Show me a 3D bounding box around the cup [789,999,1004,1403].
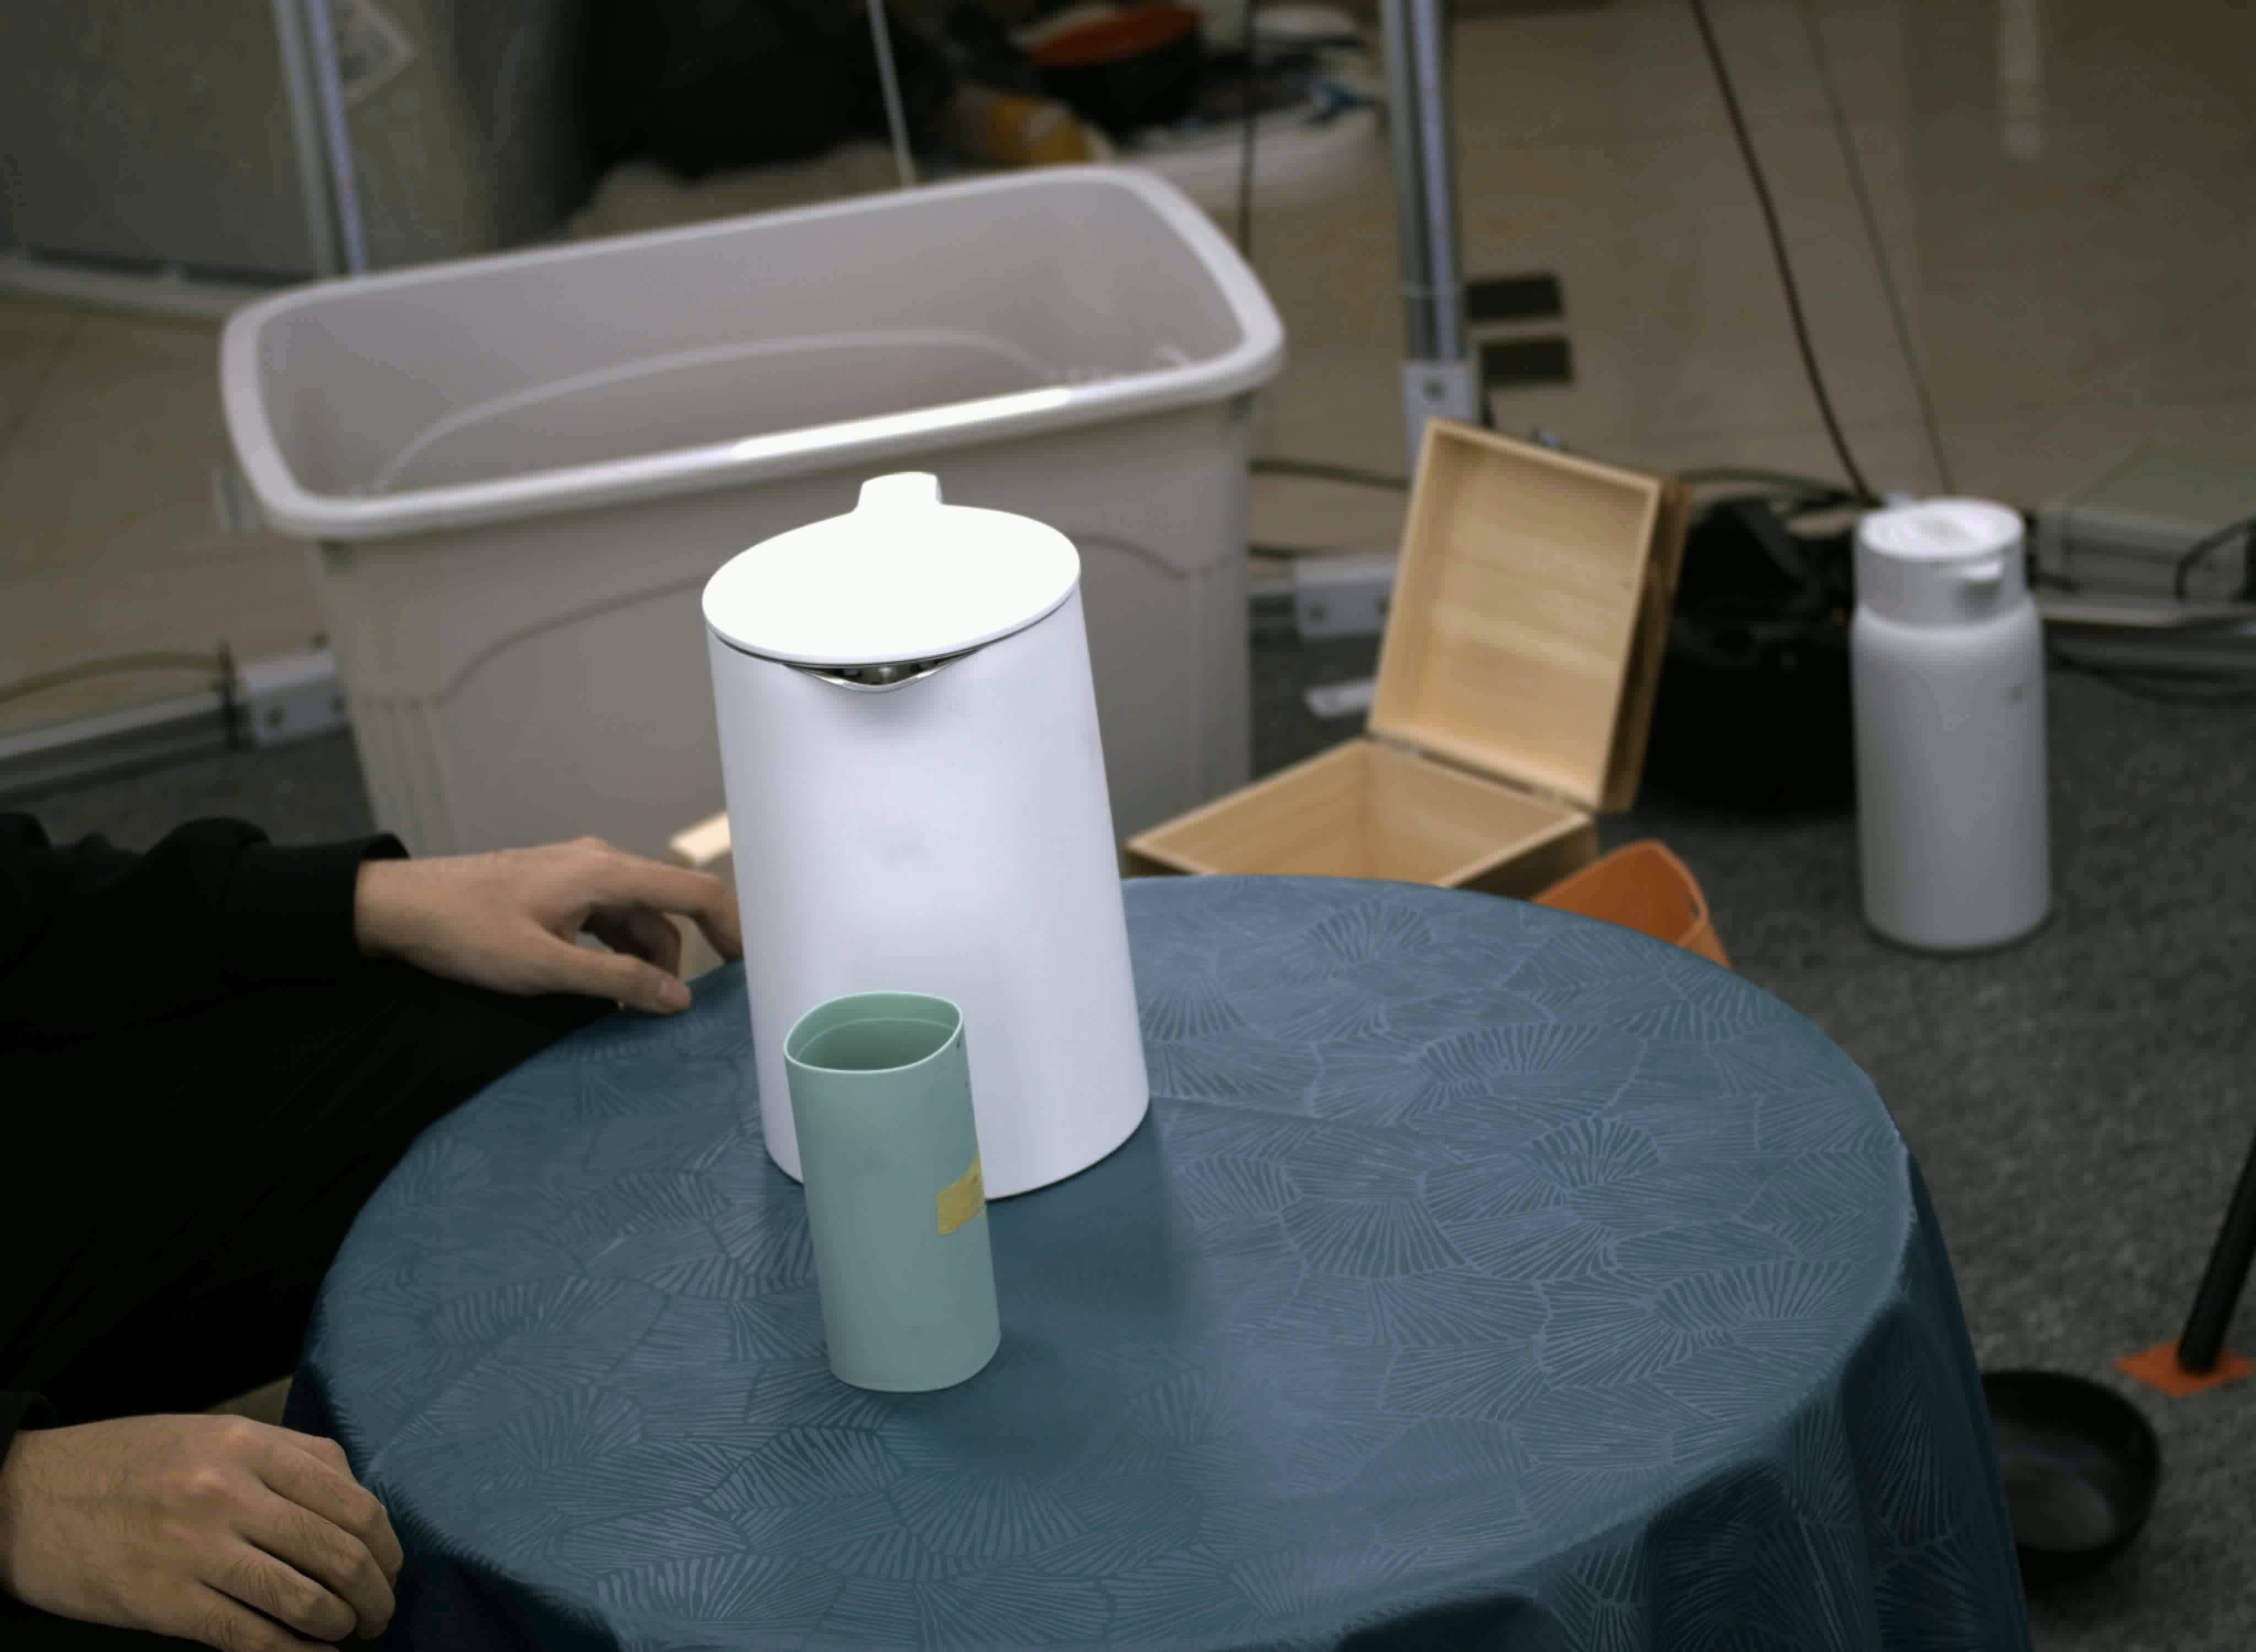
[{"bbox_3d":[-0.083,0.134,2.026,0.066,0.134,0.066,-5,27,2],"label":"cup"}]

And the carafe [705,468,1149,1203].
[{"bbox_3d":[-0.076,-0.002,2.185,0.152,0.244,0.210,-4,26,3],"label":"carafe"}]
